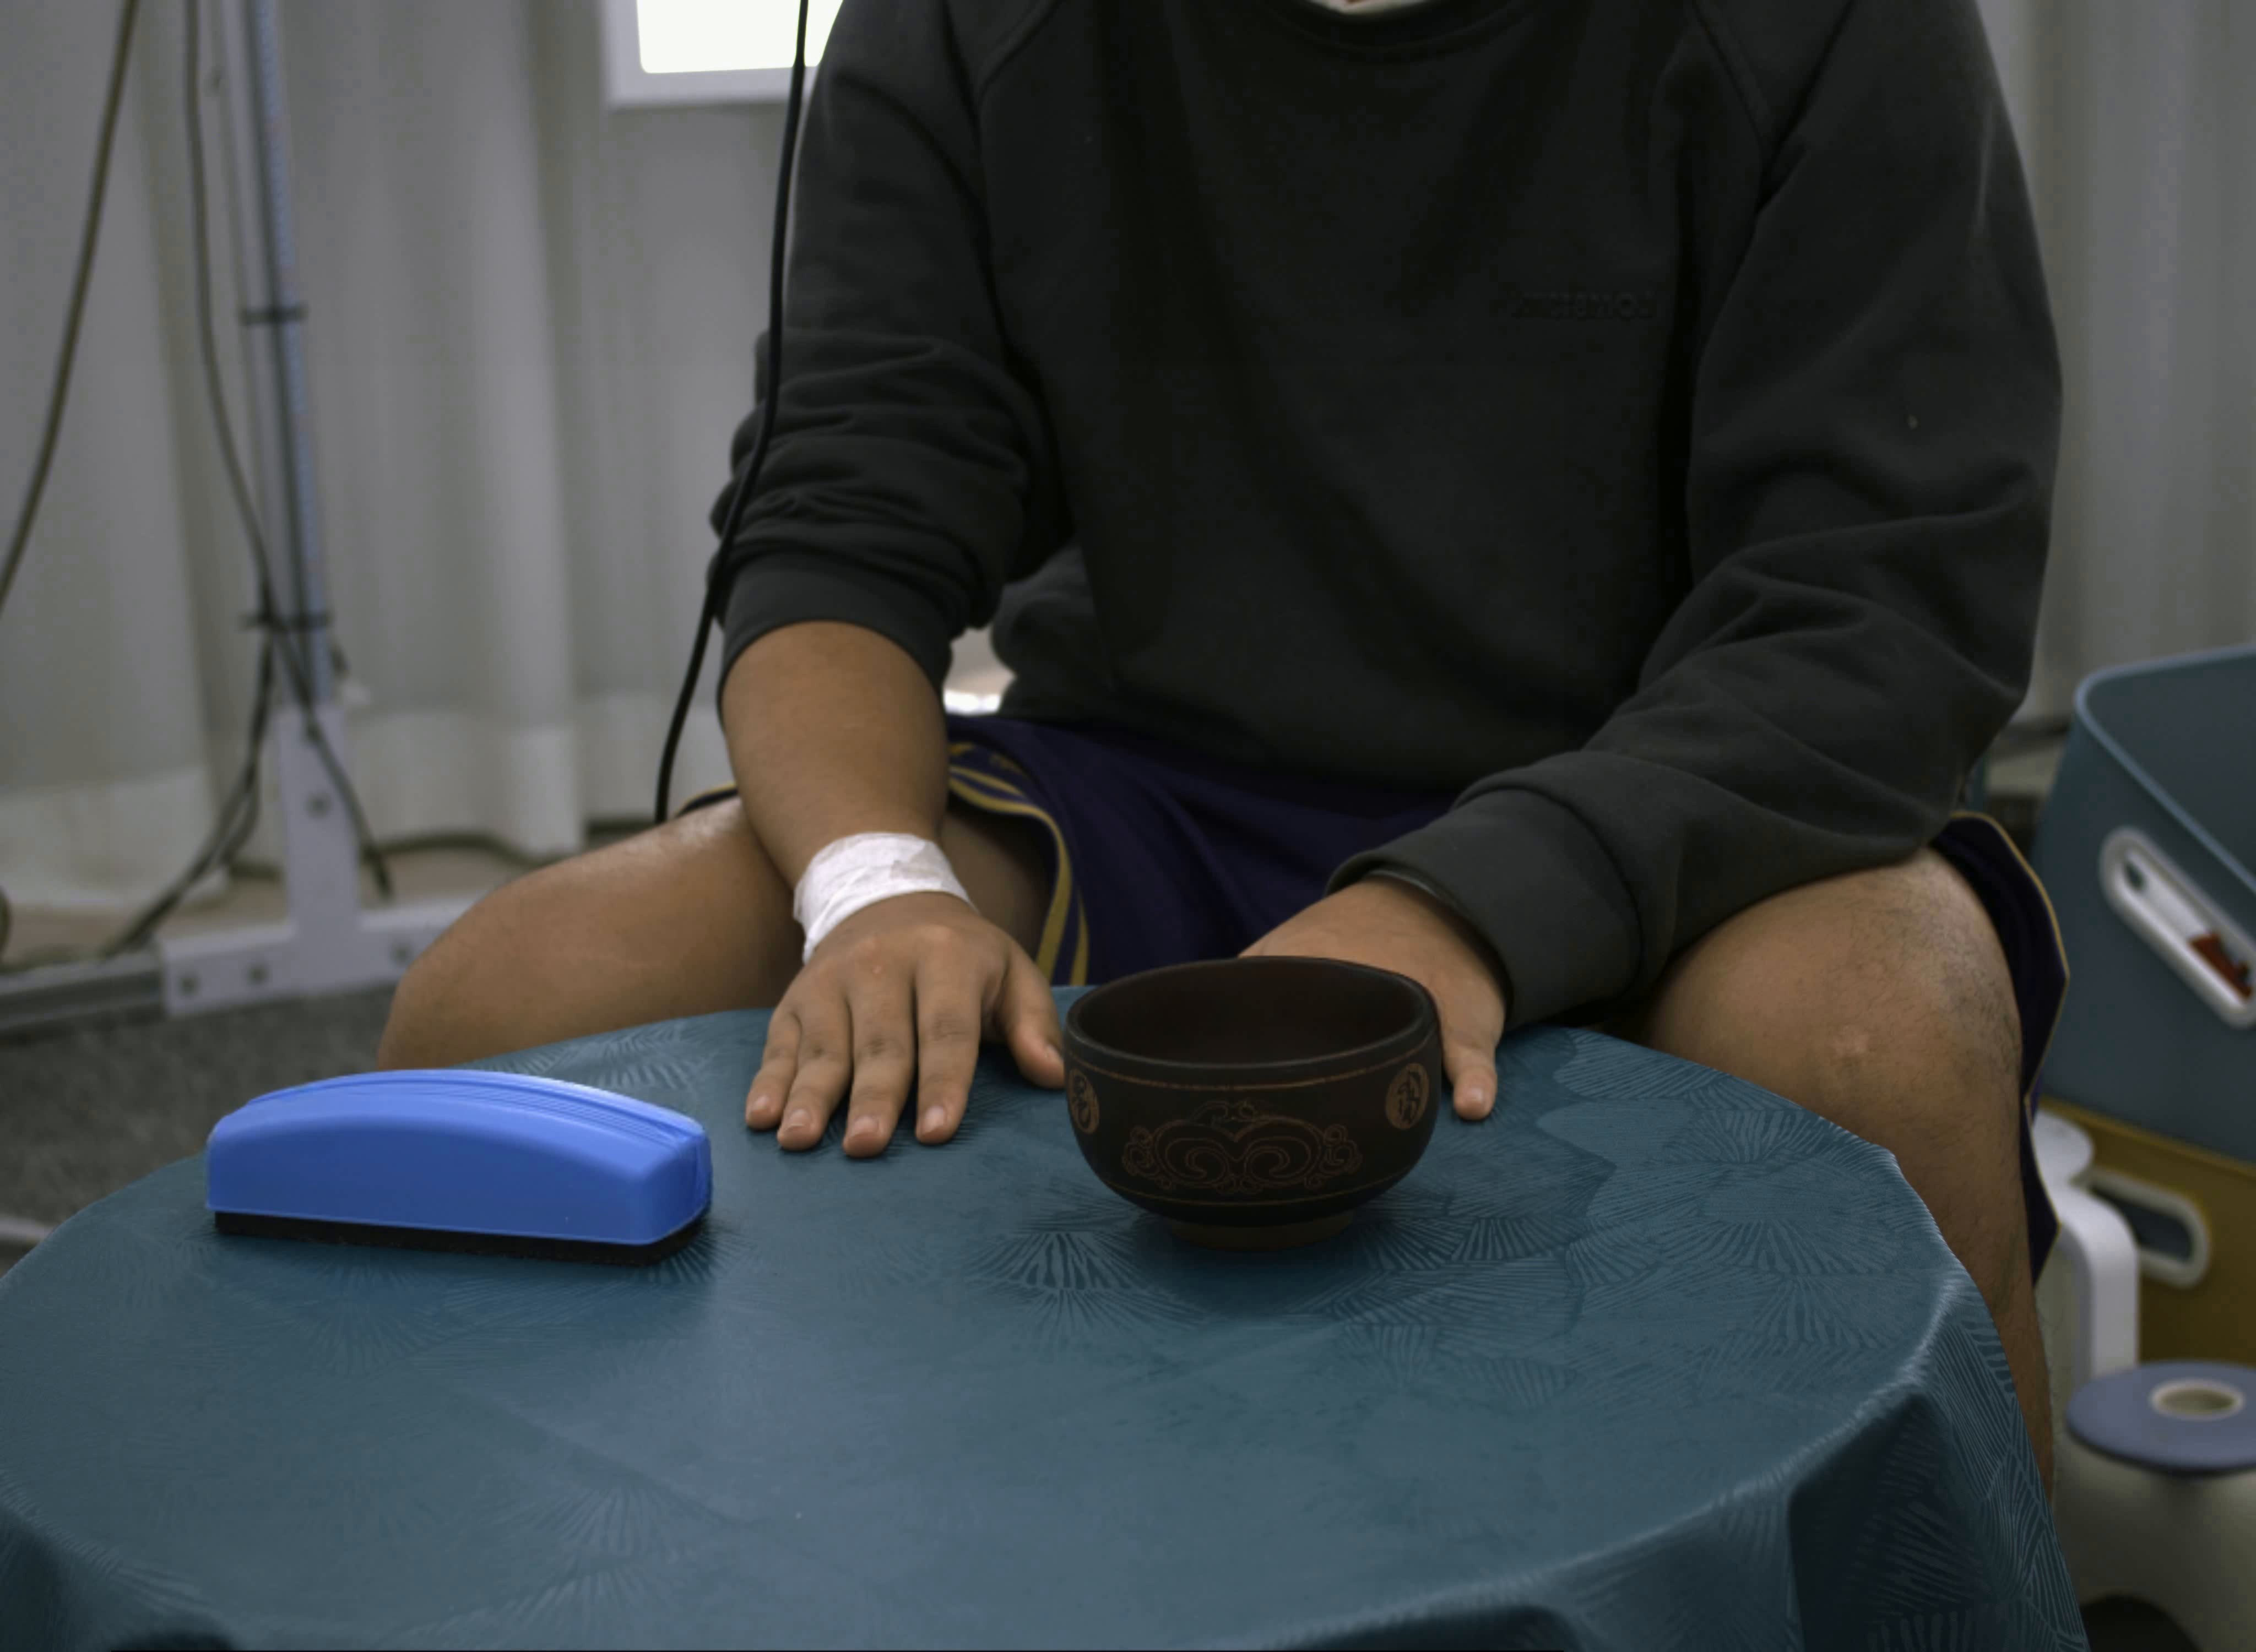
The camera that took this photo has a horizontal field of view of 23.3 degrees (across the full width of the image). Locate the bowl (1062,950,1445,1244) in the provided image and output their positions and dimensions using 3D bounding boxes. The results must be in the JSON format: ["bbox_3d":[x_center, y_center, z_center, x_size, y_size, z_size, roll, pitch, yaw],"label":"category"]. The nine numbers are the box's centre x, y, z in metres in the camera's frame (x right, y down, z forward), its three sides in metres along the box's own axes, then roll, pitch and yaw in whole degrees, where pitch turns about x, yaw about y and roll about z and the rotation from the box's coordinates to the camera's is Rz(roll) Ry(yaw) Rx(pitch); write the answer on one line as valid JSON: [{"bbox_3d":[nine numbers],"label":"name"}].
[{"bbox_3d":[0.039,0.087,1.672,0.117,0.069,0.119,-4,14,1],"label":"bowl"}]

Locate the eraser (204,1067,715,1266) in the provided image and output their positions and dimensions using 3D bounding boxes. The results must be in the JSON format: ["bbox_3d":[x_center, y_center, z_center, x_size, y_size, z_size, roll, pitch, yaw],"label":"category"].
[{"bbox_3d":[-0.210,0.104,1.710,0.162,0.047,0.054,3,16,20],"label":"eraser"}]
